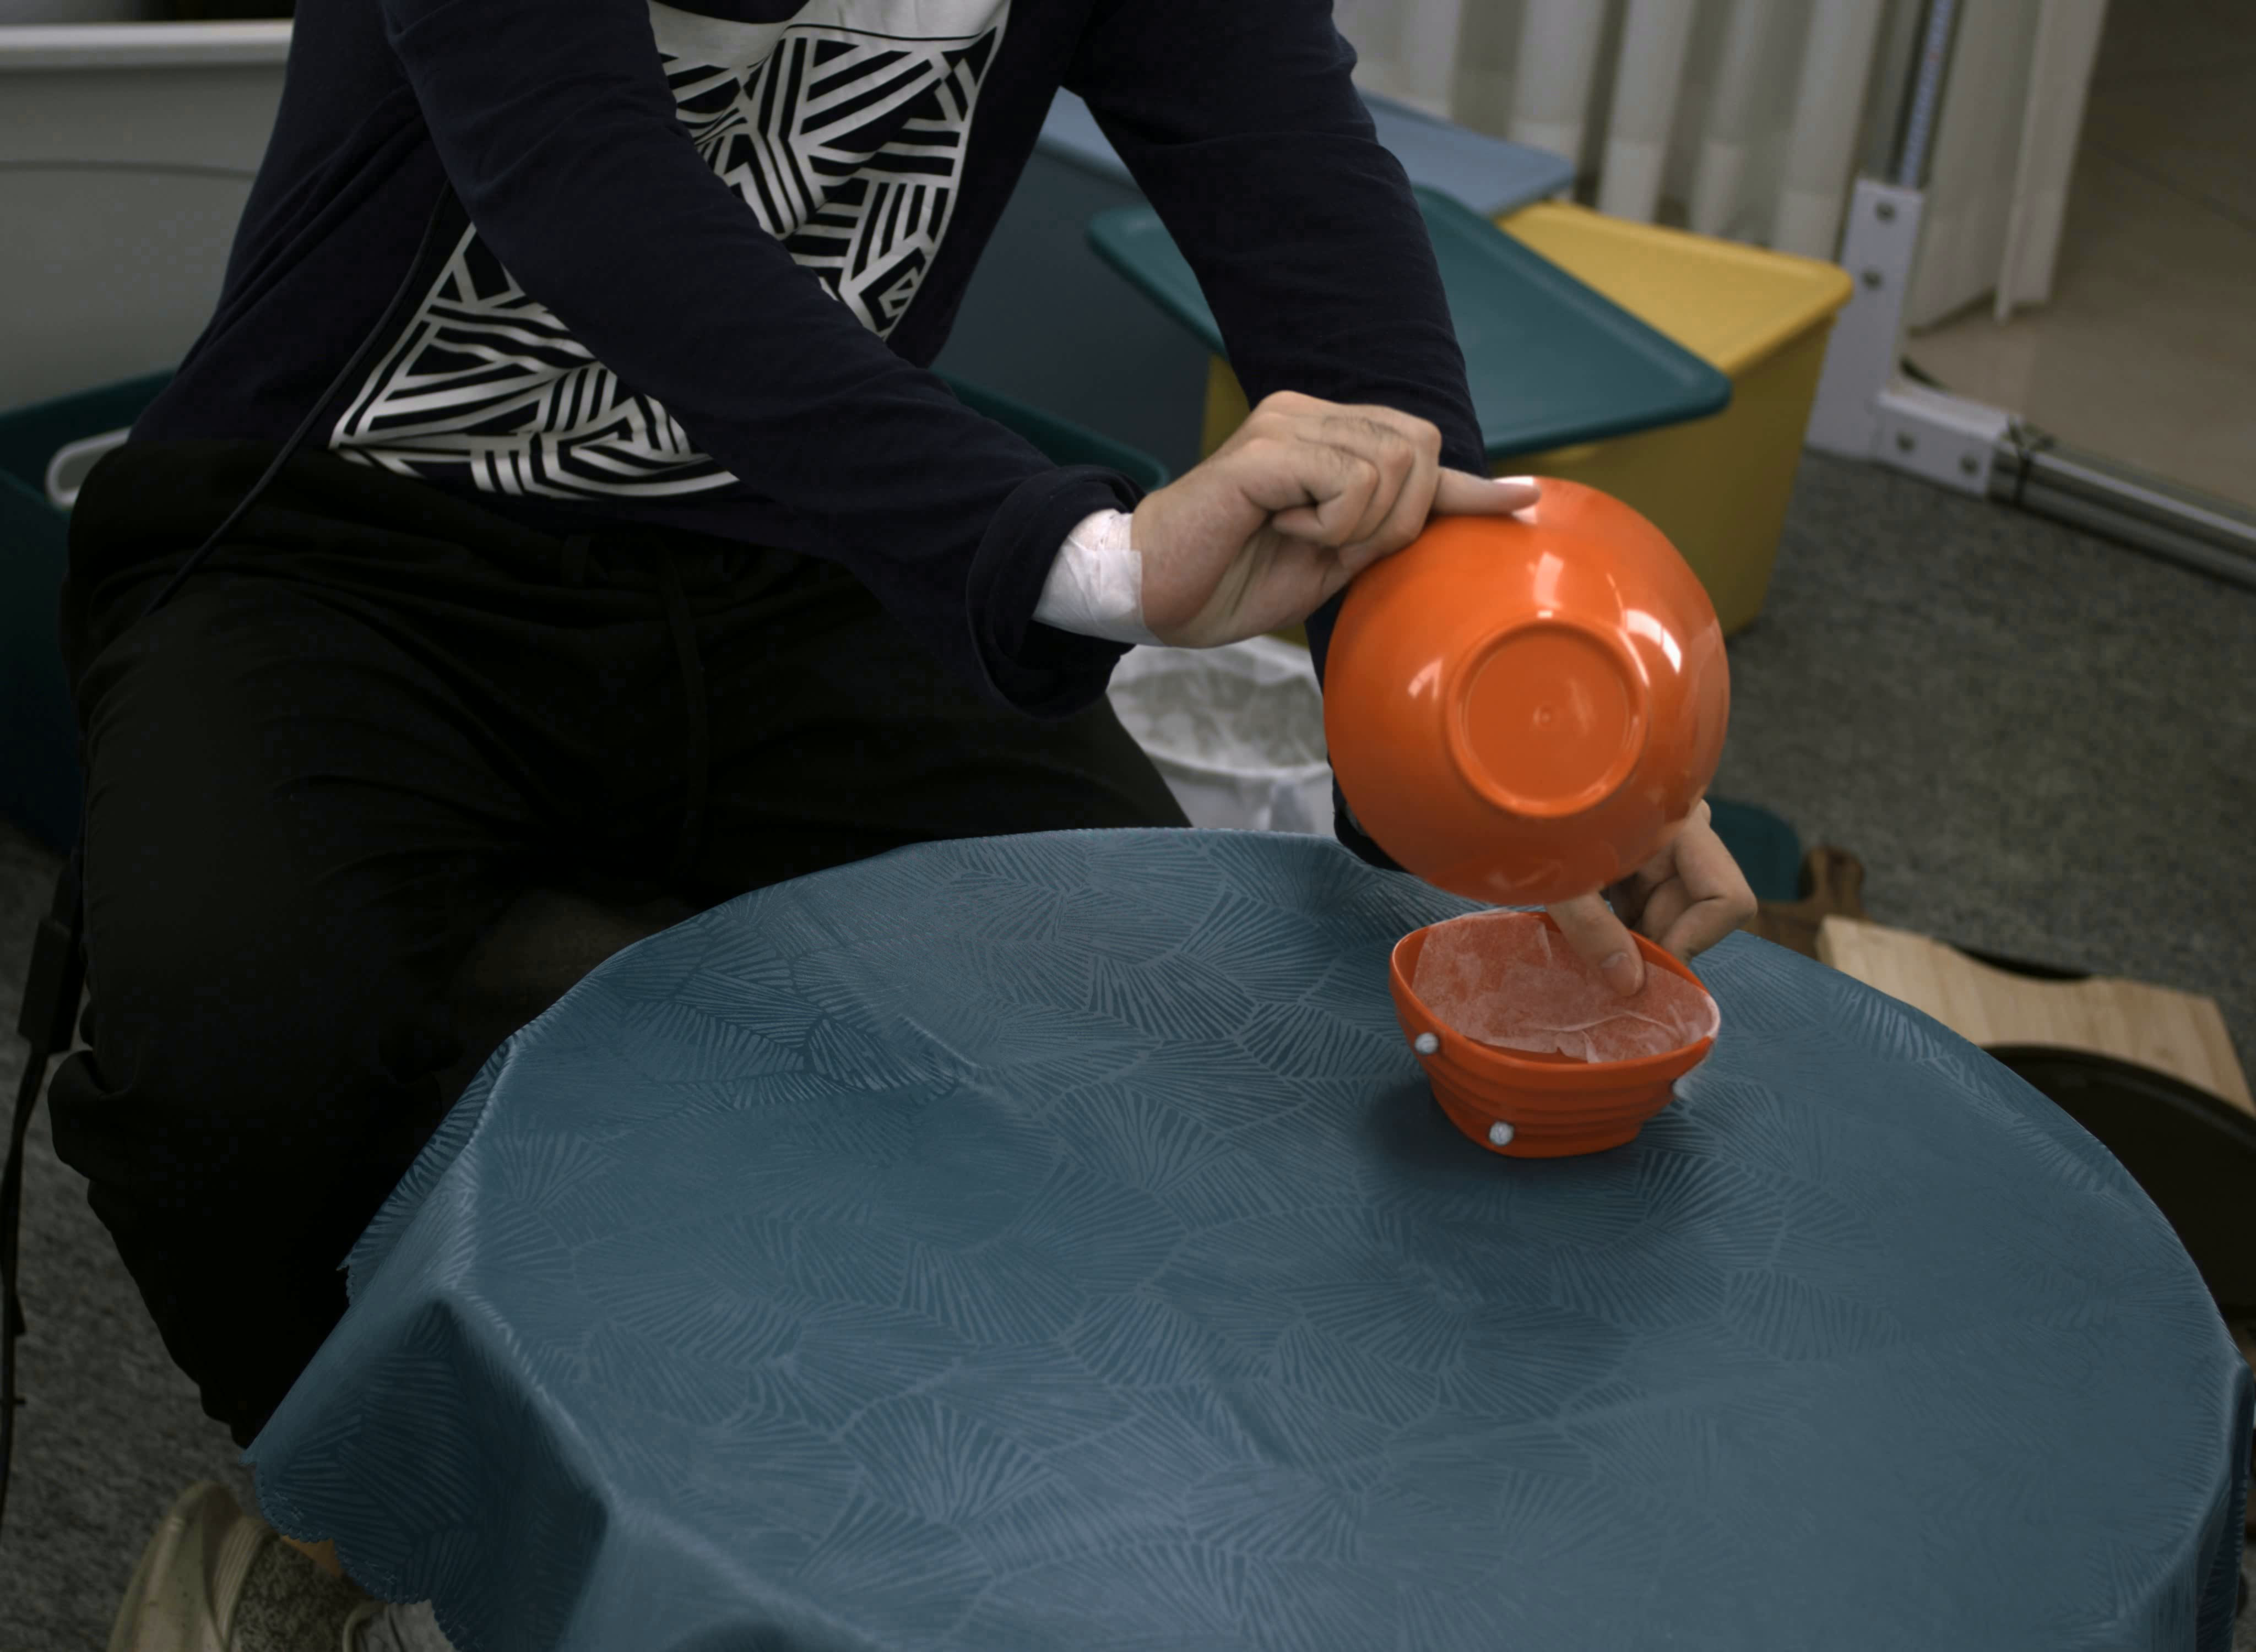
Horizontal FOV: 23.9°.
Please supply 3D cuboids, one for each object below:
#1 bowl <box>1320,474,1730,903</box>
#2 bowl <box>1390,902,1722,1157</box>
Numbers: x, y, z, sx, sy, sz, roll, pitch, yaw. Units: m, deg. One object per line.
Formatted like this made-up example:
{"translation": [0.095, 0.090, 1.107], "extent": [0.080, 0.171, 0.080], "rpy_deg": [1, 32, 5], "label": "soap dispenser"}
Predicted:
{"translation": [0.141, -0.043, 1.790], "extent": [0.147, 0.148, 0.105], "rpy_deg": [4, 5, -6], "label": "bowl"}
{"translation": [0.147, 0.076, 1.873], "extent": [0.118, 0.051, 0.119], "rpy_deg": [5, 29, -3], "label": "bowl"}
